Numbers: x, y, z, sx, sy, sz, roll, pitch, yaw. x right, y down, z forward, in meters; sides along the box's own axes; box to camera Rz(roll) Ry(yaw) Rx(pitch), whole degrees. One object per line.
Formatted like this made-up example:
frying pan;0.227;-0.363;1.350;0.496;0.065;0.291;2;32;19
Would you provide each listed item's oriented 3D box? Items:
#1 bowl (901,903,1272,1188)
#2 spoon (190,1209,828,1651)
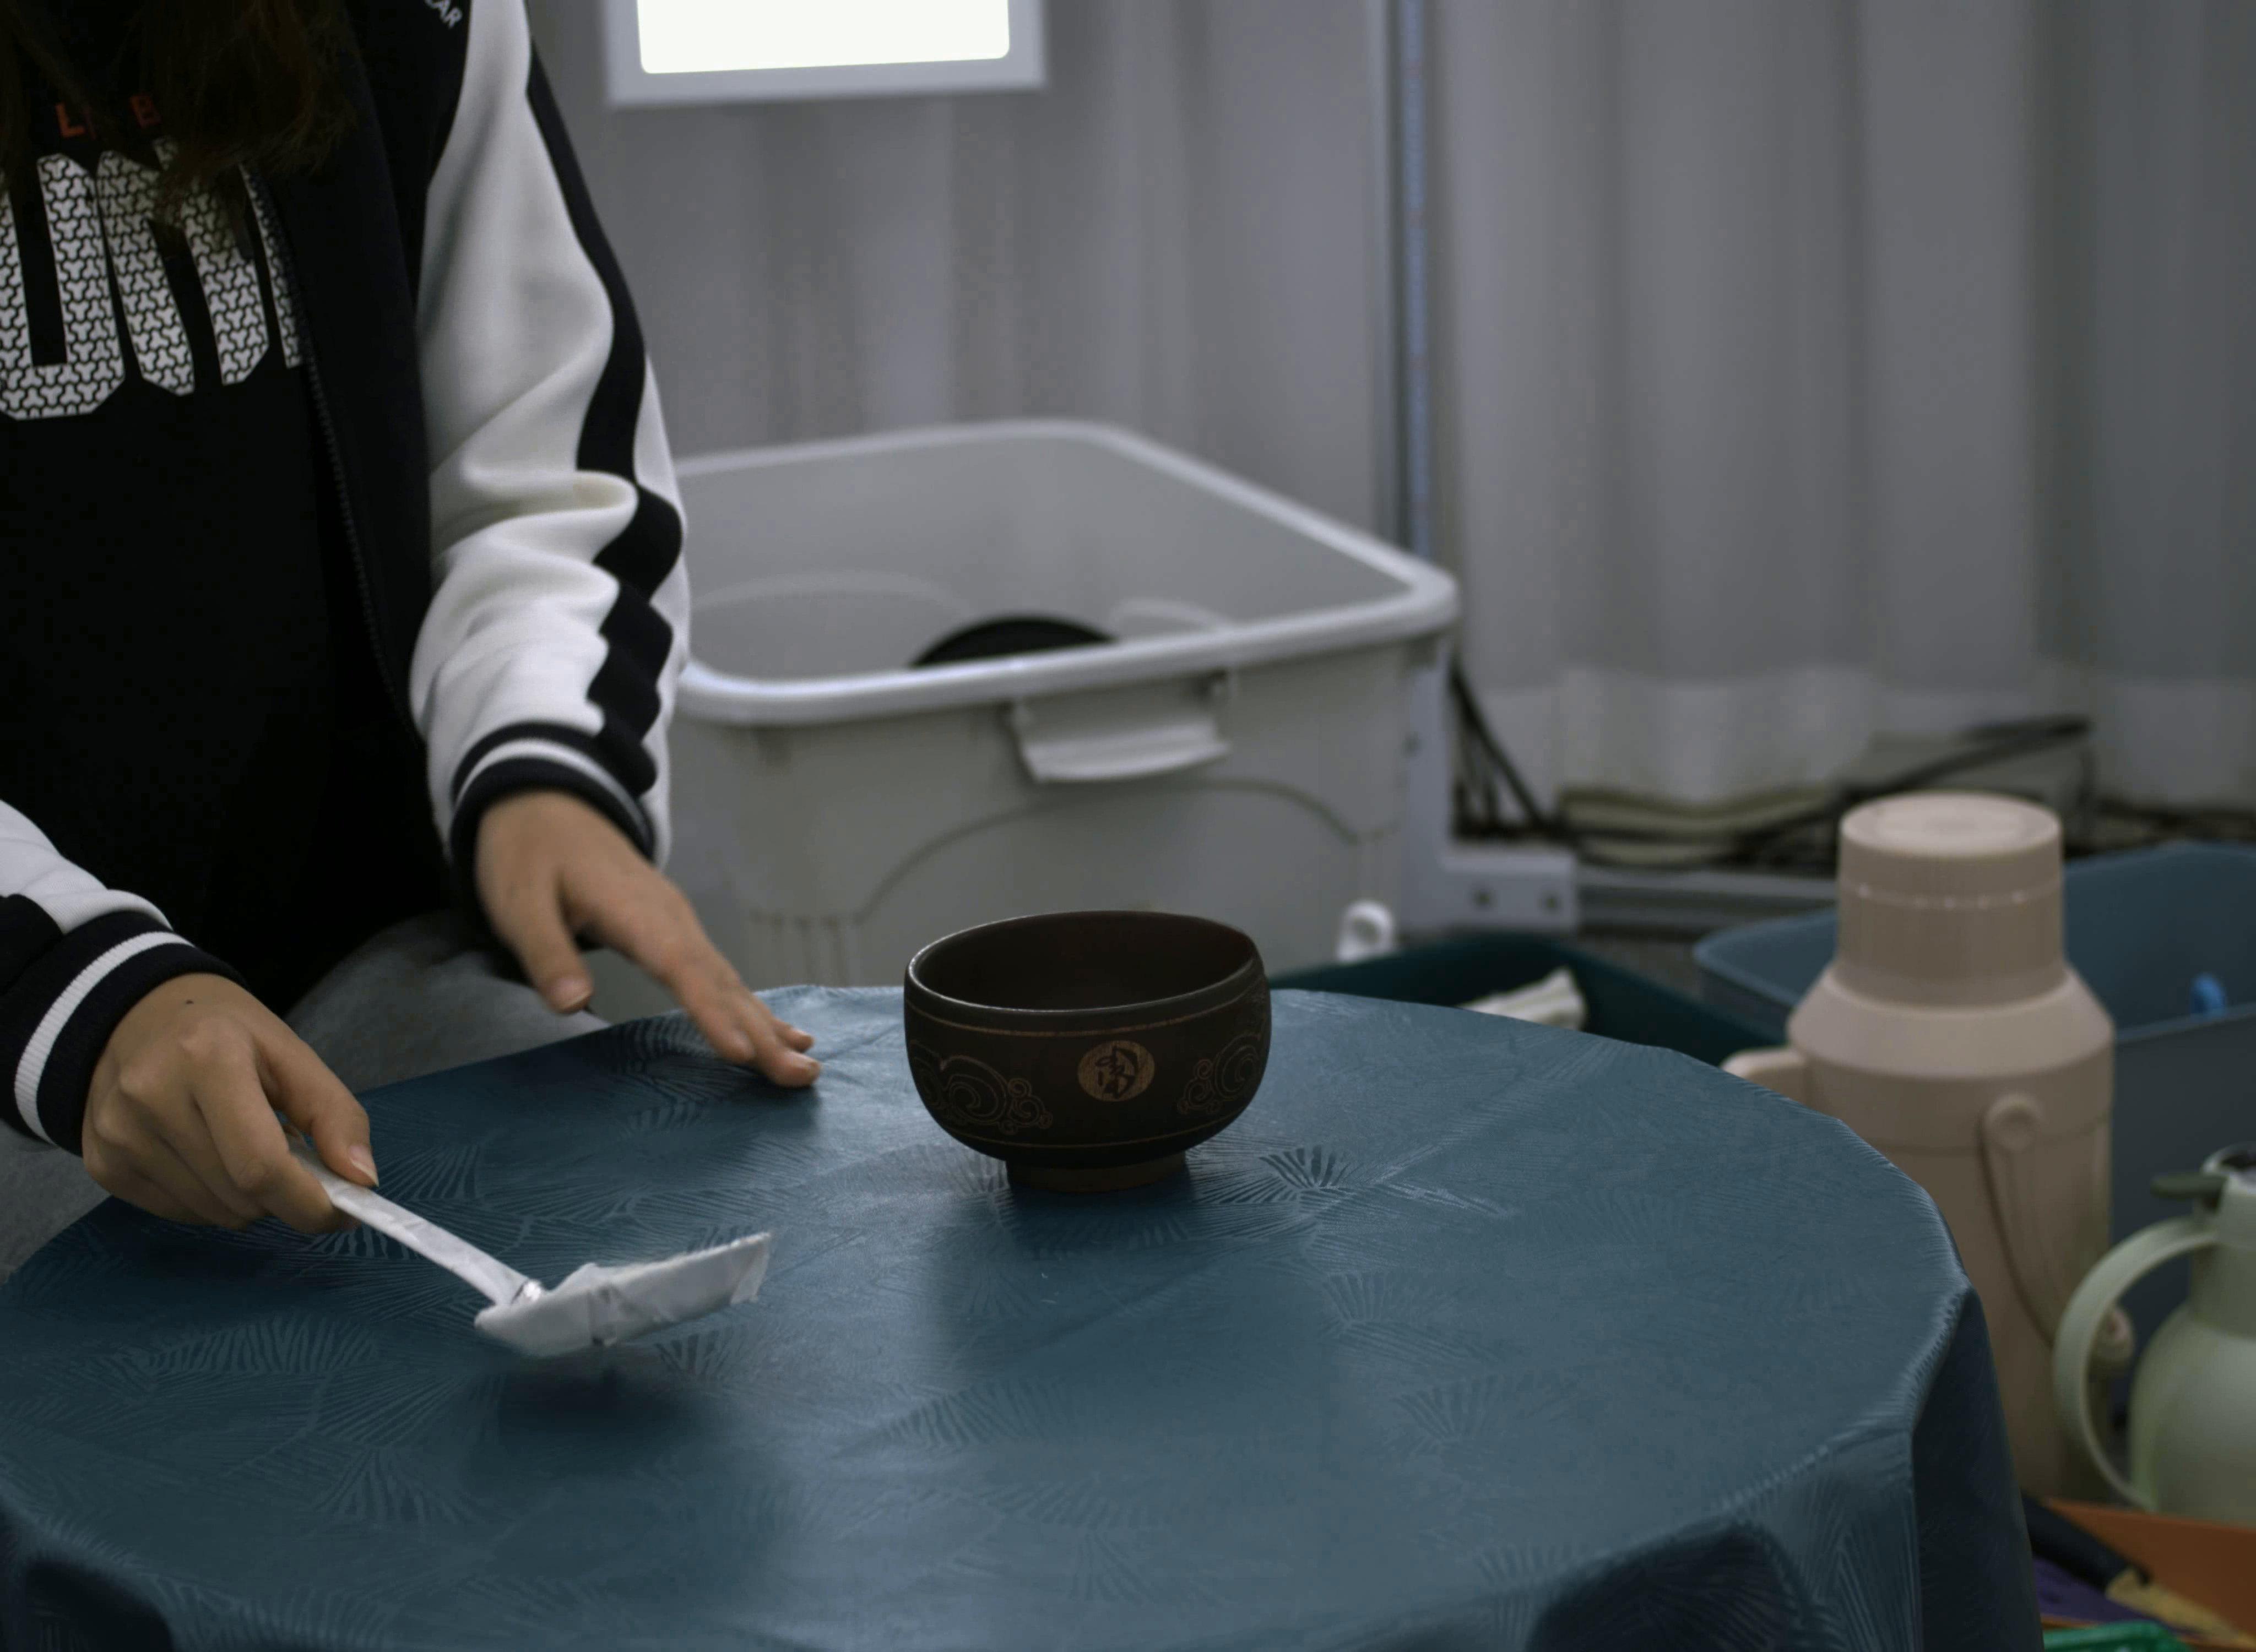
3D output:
bowl;-0.013;0.073;1.732;0.117;0.069;0.119;-3;14;0
spoon;-0.199;0.201;1.586;0.060;0.276;0.100;46;12;20
